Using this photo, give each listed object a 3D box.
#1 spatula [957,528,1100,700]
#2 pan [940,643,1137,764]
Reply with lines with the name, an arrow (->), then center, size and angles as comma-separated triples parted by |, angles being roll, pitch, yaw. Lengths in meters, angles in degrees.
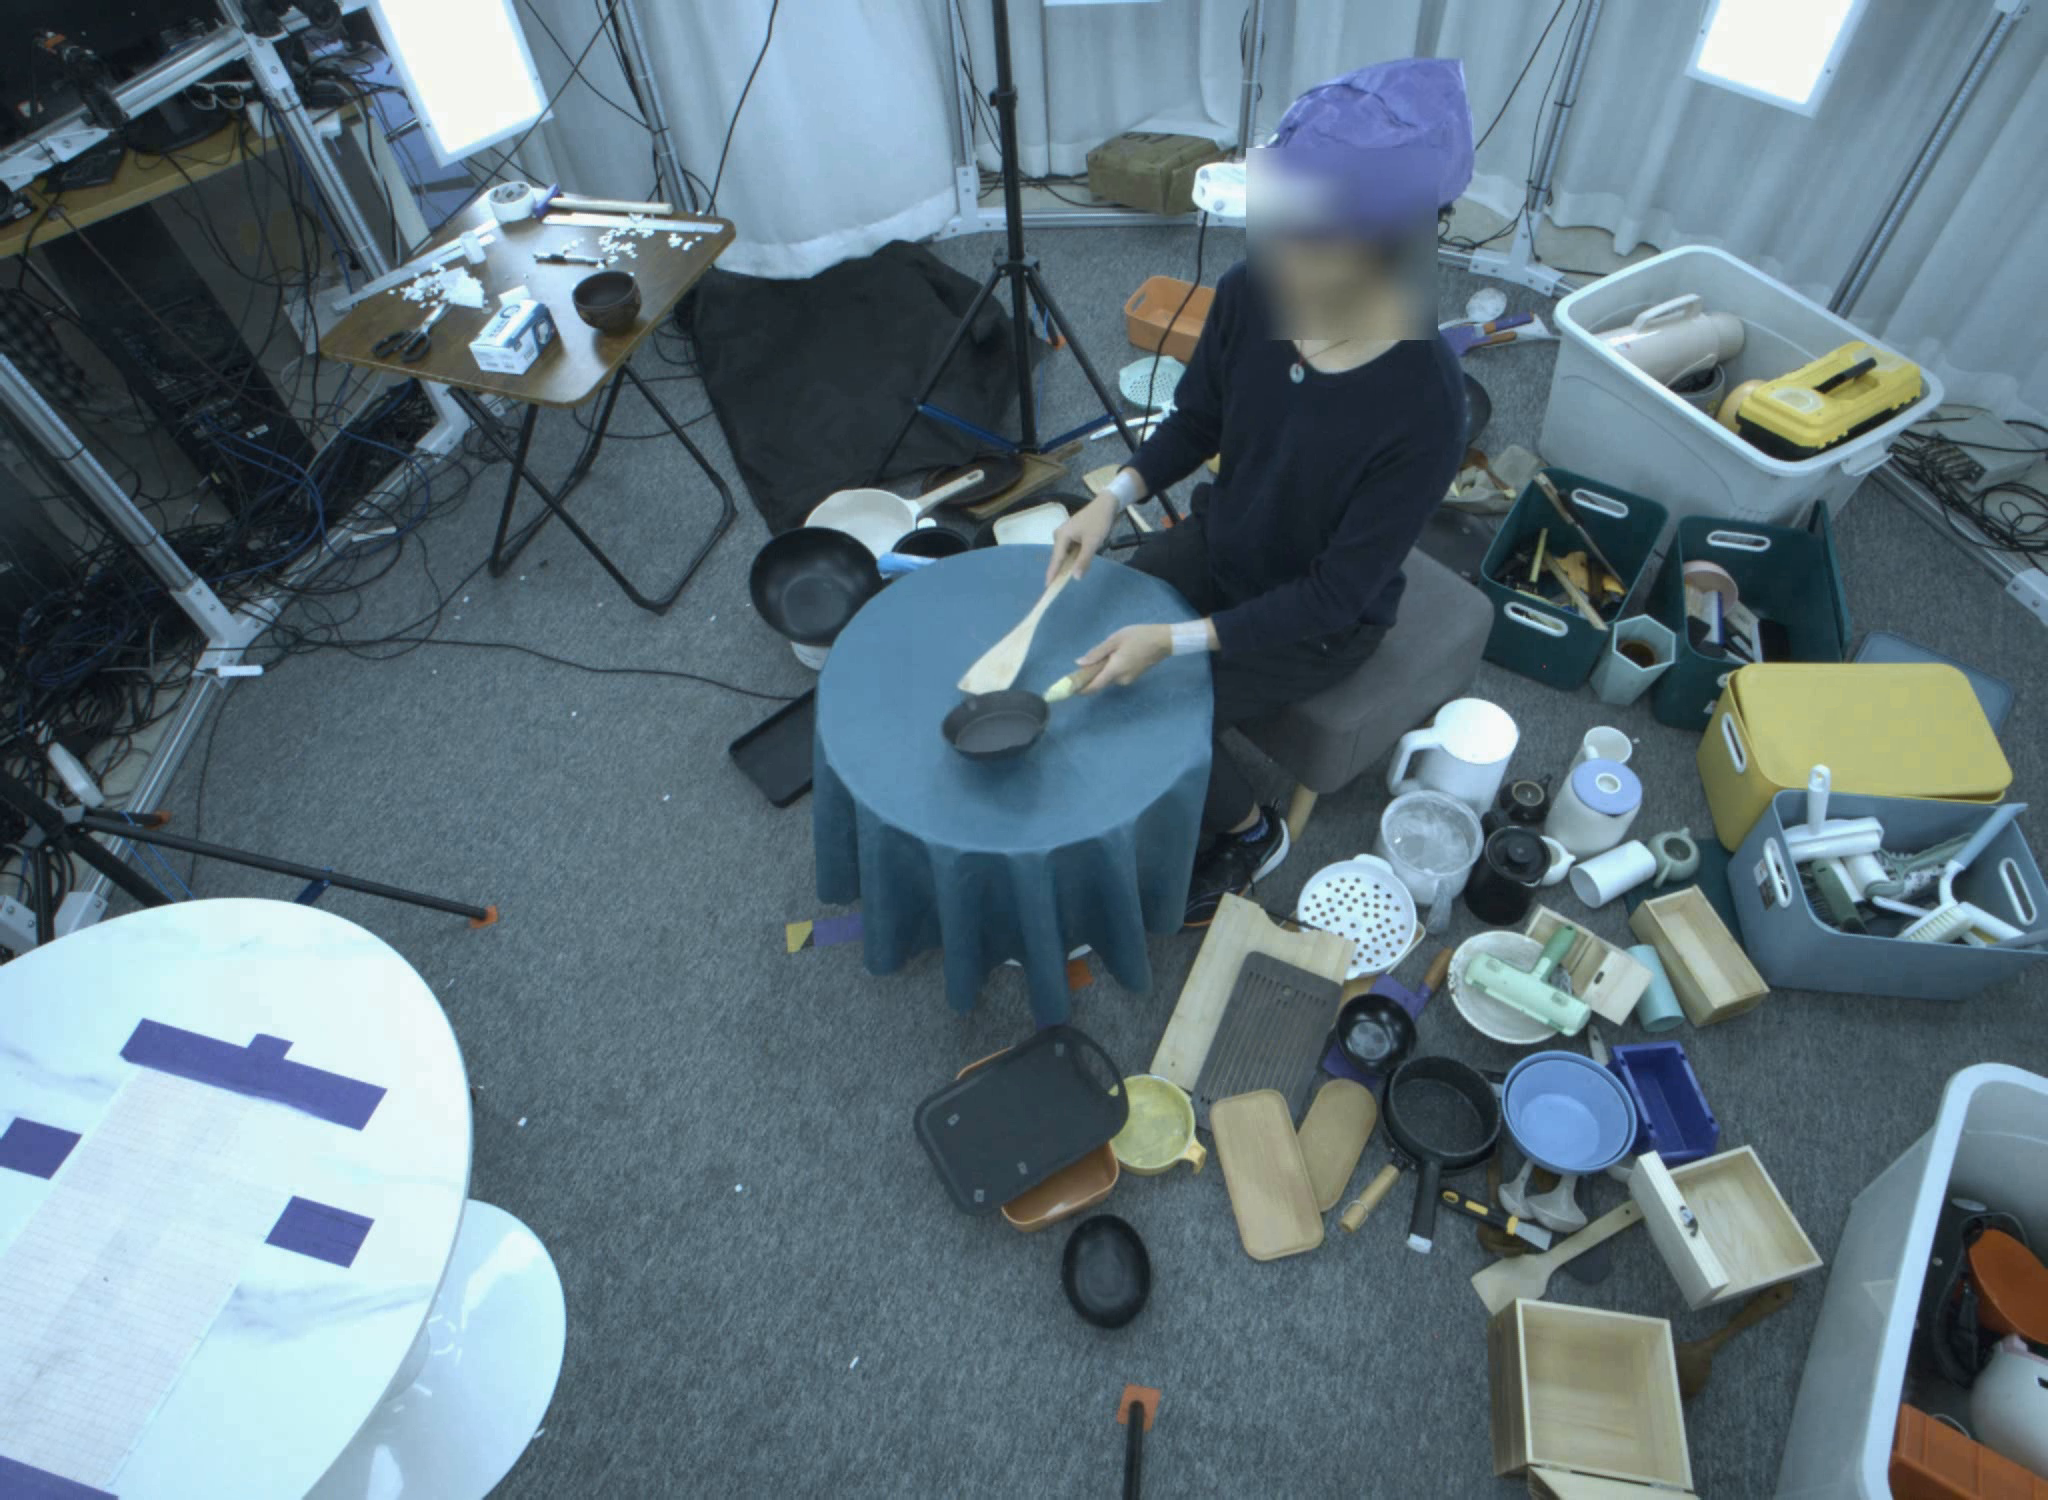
spatula -> 0.019, -0.207, 1.839 | 0.078, 0.017, 0.328 | 28, 77, 29
pan -> 0.032, -0.071, 1.758 | 0.327, 0.050, 0.165 | -27, 37, -19
